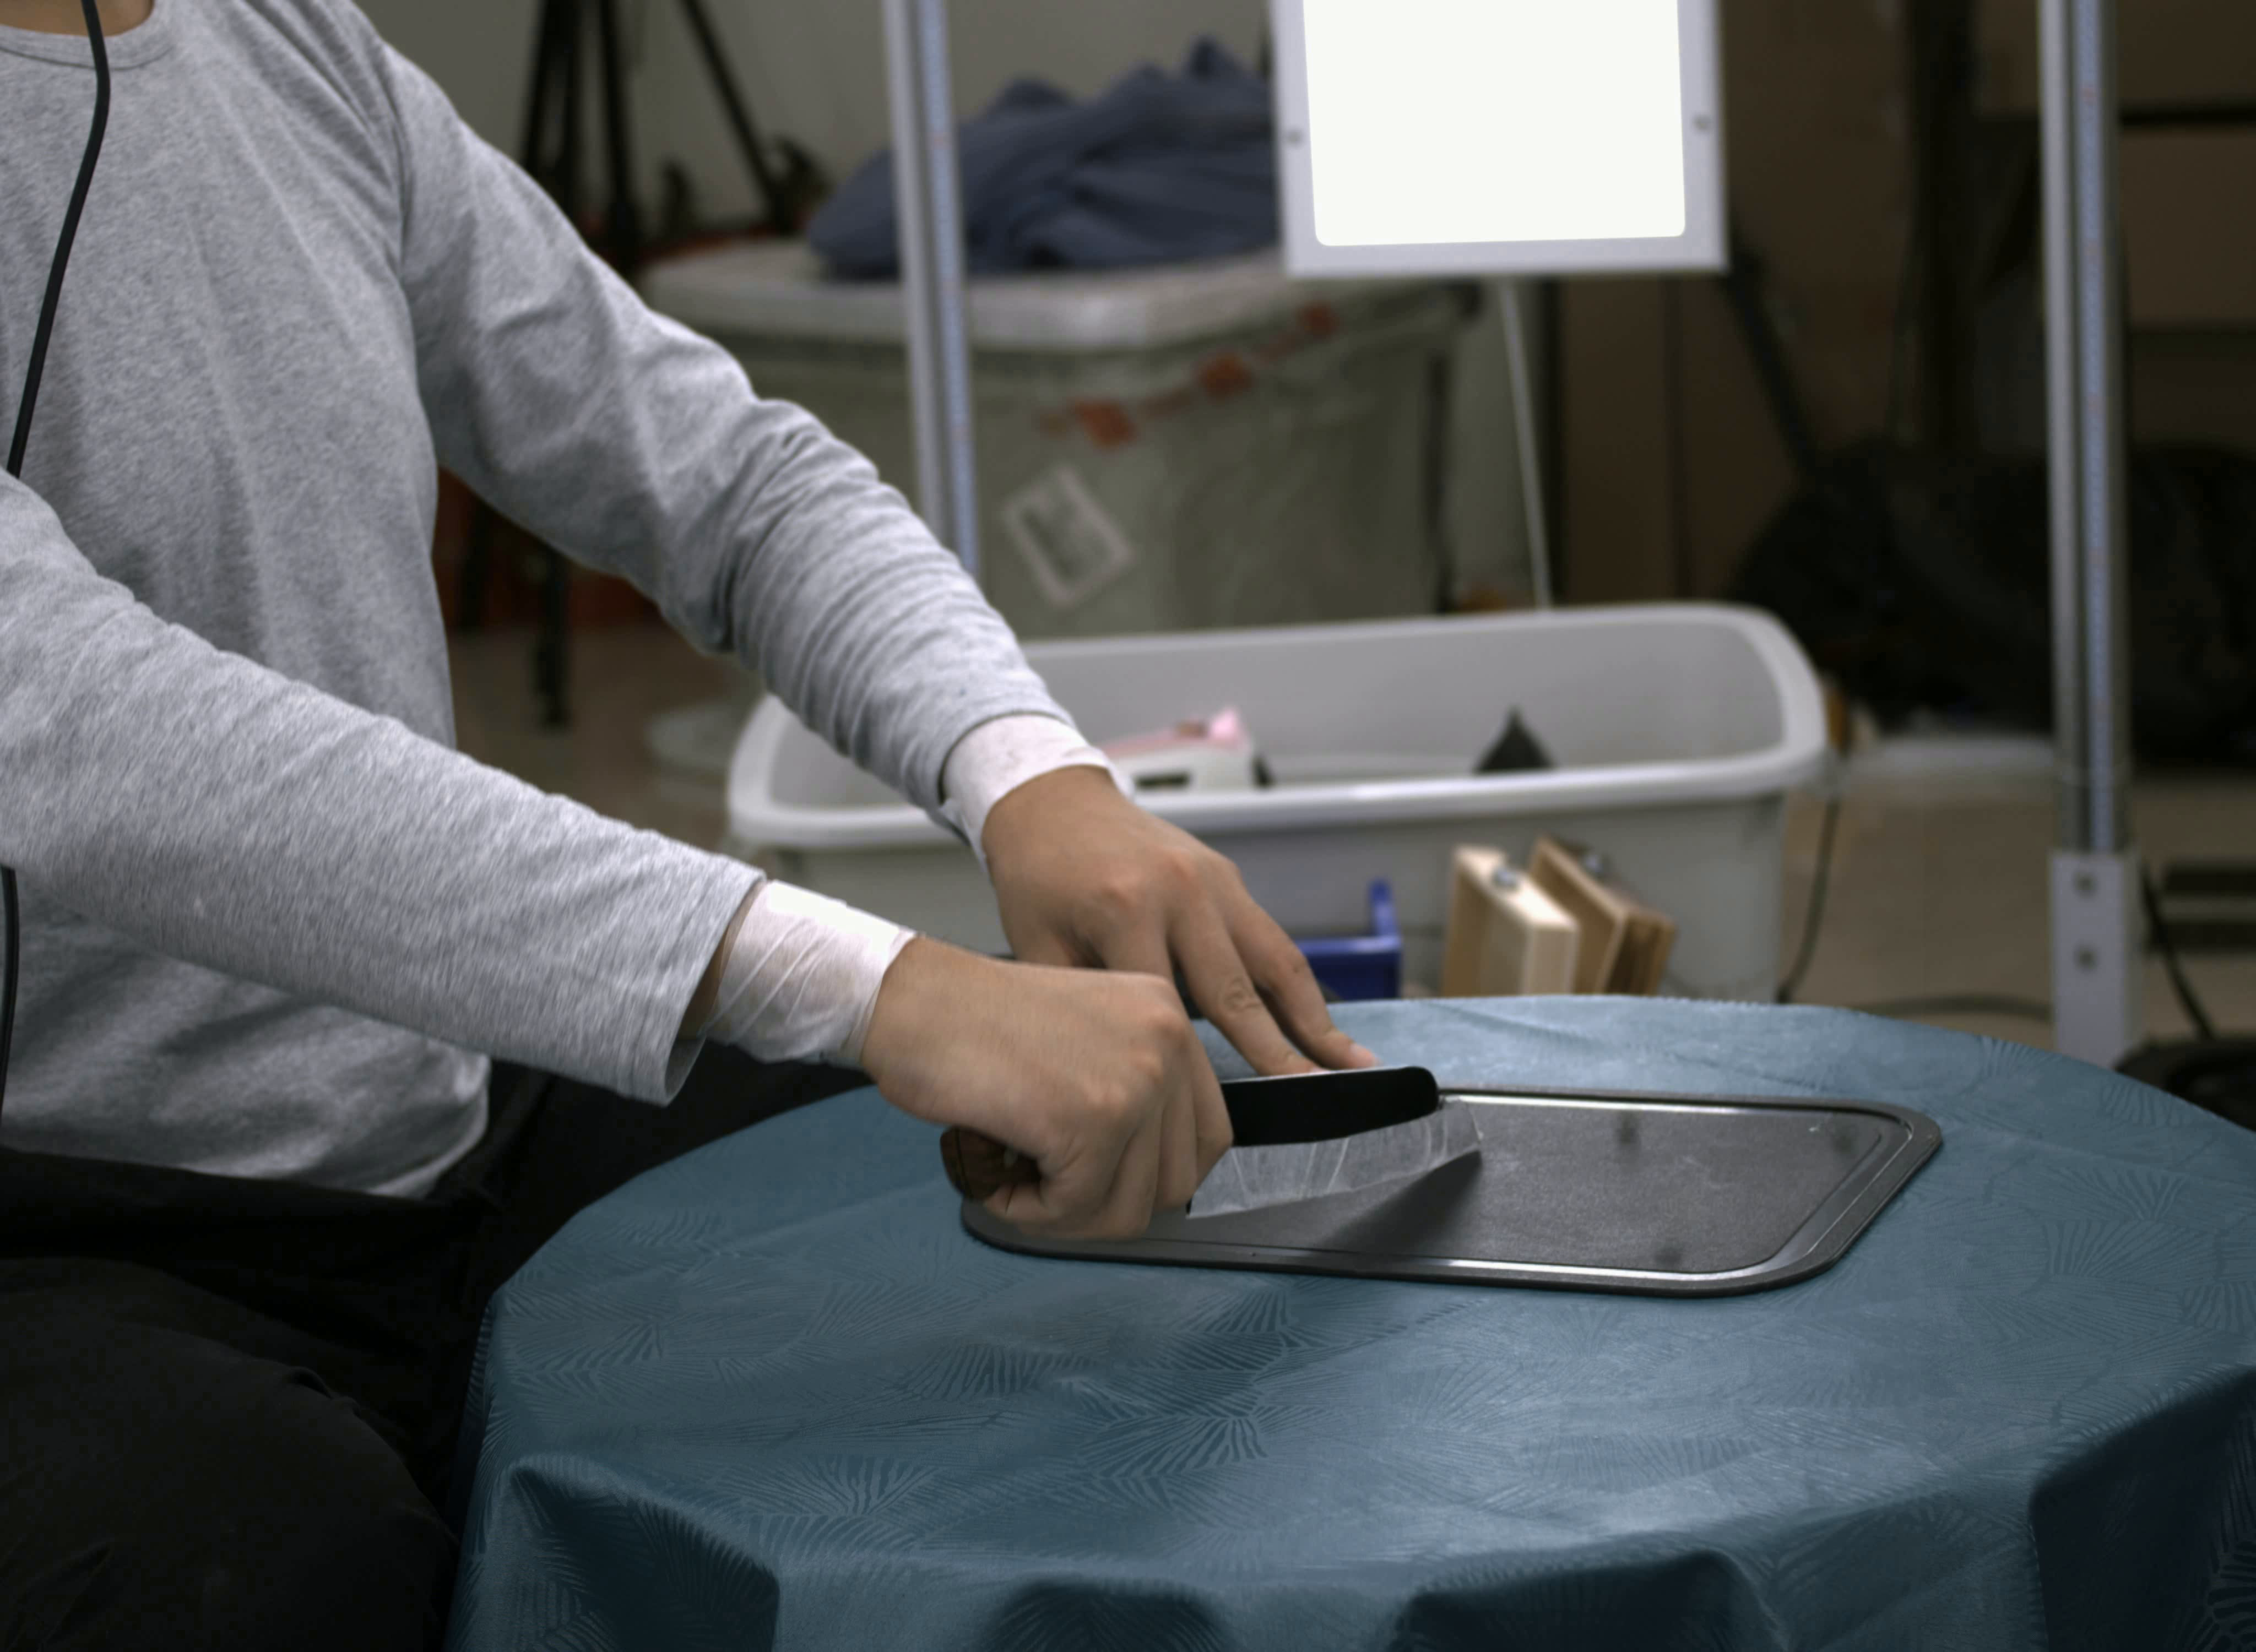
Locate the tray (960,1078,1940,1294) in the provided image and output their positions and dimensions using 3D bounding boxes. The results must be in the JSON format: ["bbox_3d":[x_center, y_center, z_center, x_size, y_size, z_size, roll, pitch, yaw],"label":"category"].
[{"bbox_3d":[0.105,0.119,1.885,0.331,0.010,0.207,1,15,26],"label":"tray"}]

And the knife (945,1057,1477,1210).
[{"bbox_3d":[0.035,0.101,1.800,0.020,0.050,0.282,11,5,38],"label":"knife"}]
